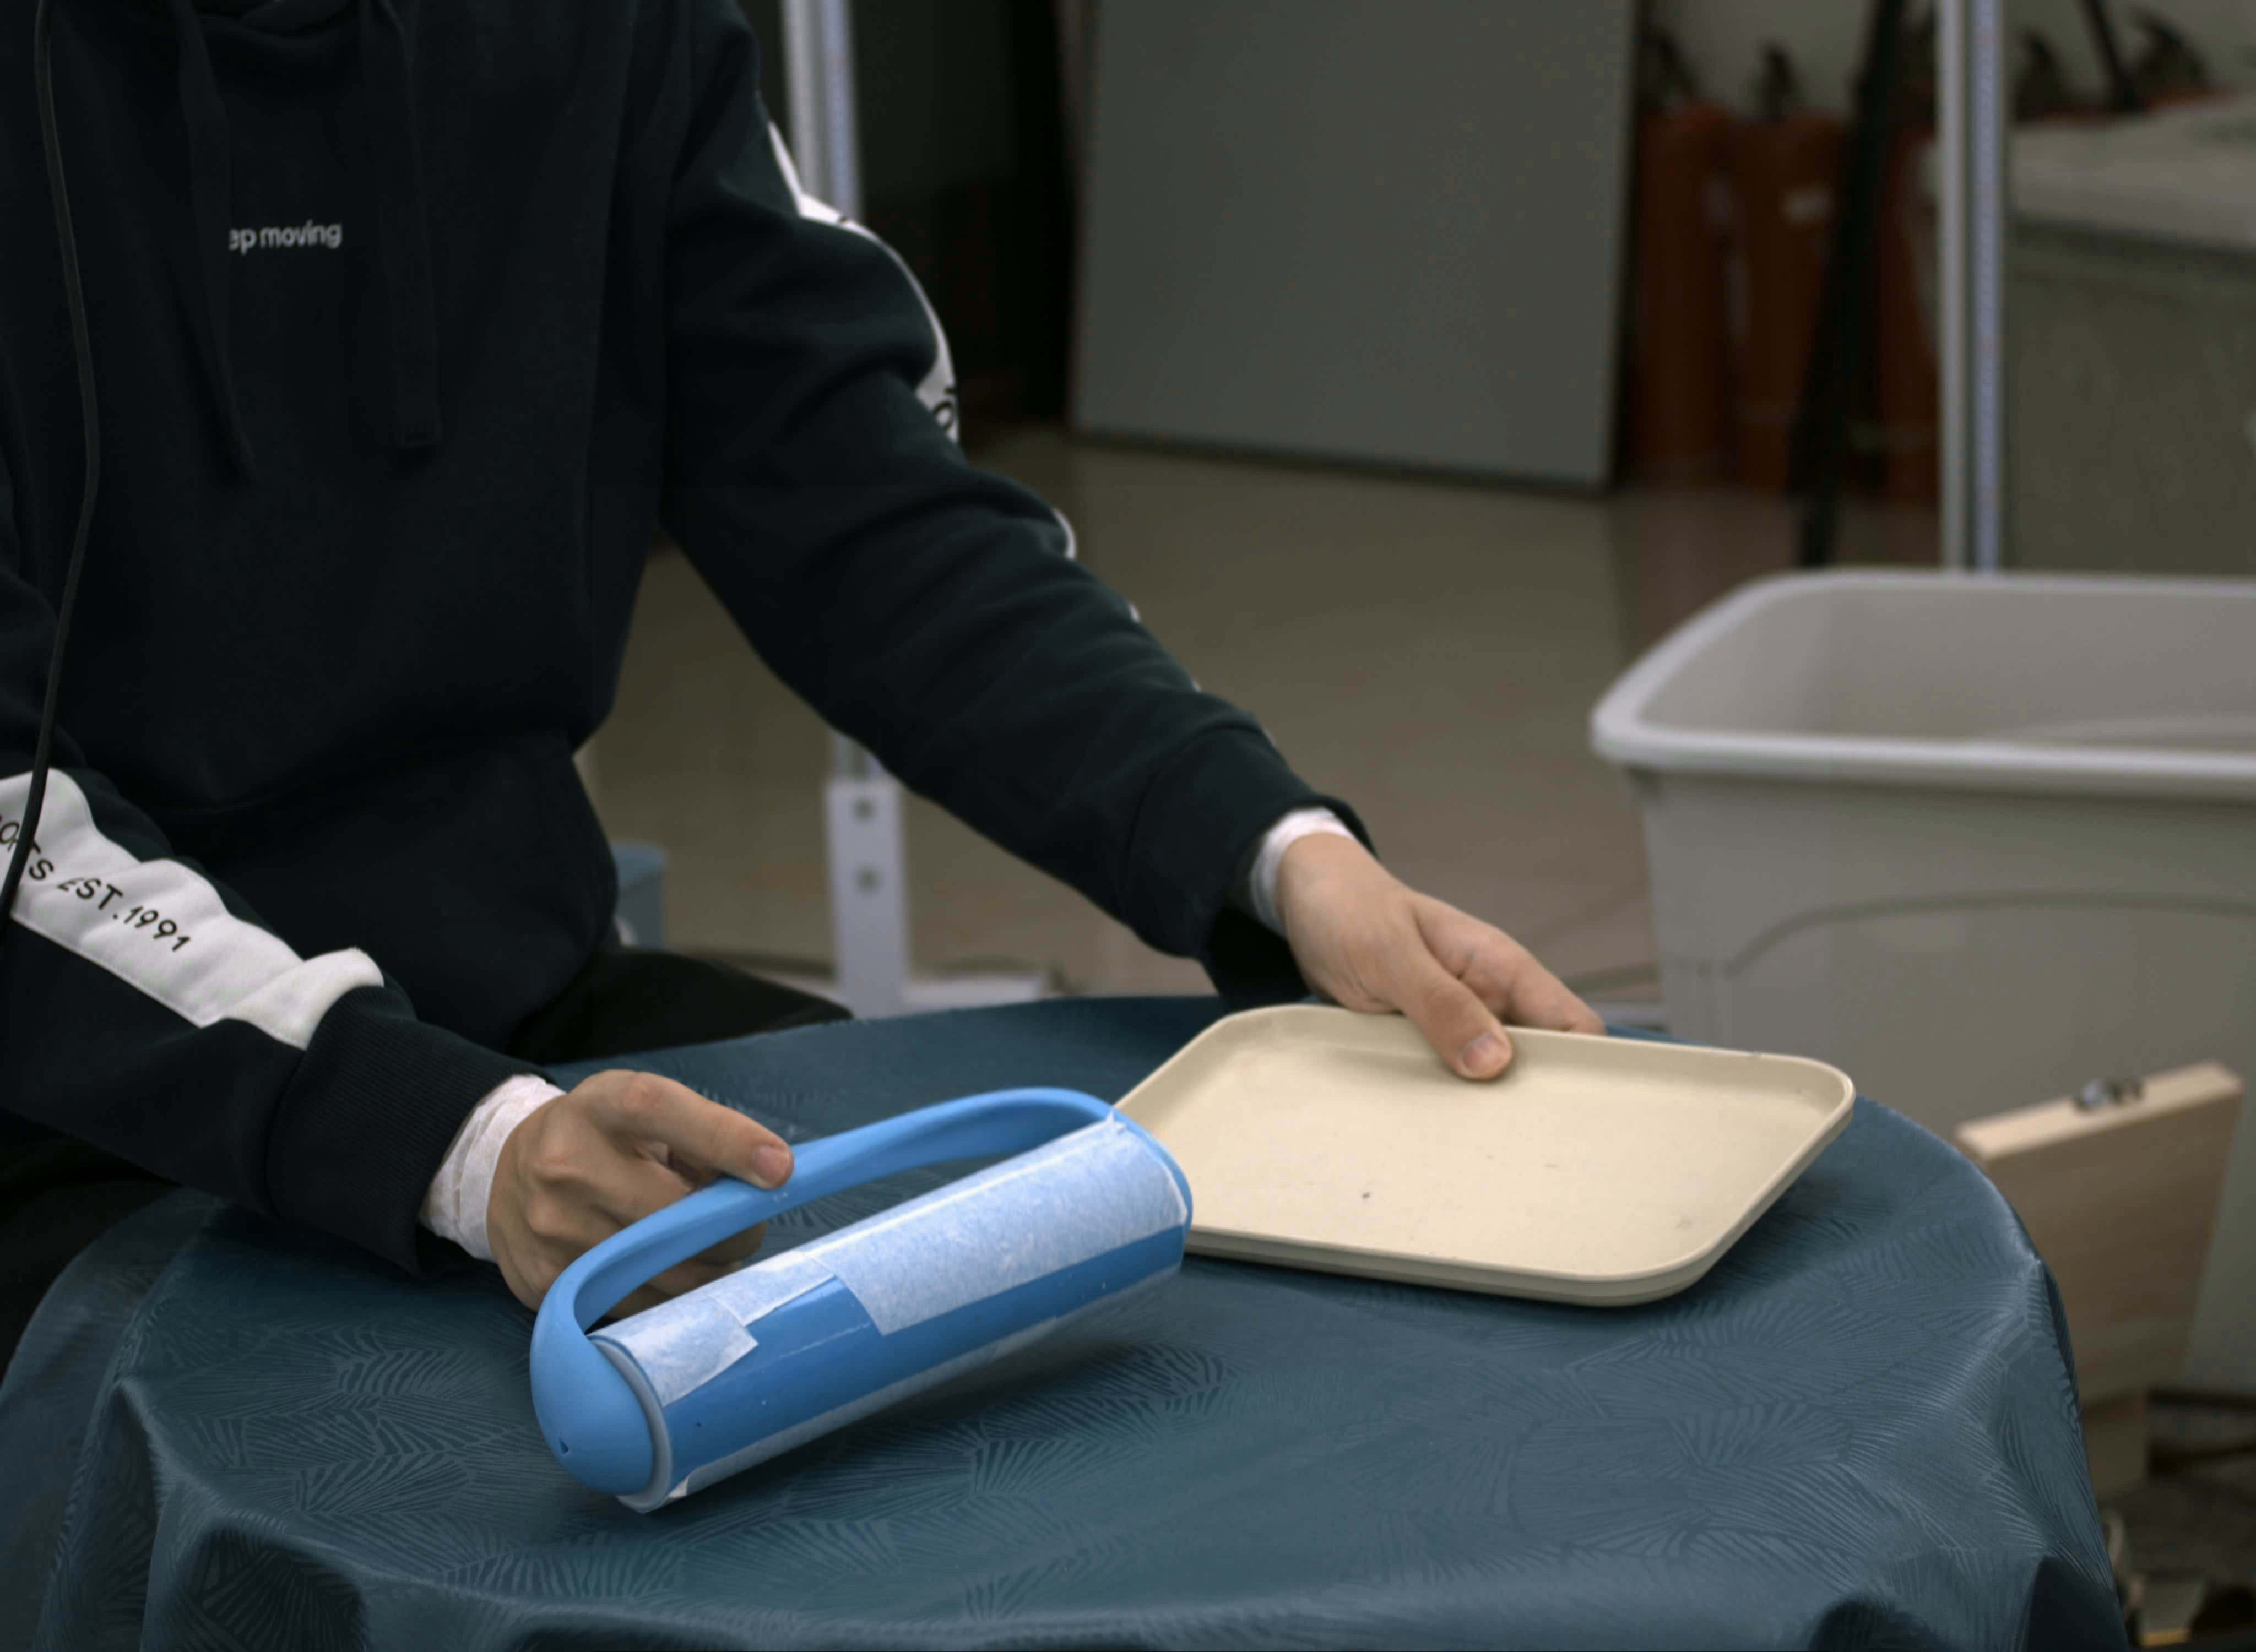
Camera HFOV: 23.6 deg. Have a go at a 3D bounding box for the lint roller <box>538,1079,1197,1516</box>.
[{"bbox_3d":[-0.109,0.130,1.611,0.224,0.068,0.182,-24,23,-37],"label":"lint roller"}]

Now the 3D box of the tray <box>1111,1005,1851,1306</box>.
[{"bbox_3d":[0.102,0.105,1.732,0.241,0.017,0.169,4,24,31],"label":"tray"}]
